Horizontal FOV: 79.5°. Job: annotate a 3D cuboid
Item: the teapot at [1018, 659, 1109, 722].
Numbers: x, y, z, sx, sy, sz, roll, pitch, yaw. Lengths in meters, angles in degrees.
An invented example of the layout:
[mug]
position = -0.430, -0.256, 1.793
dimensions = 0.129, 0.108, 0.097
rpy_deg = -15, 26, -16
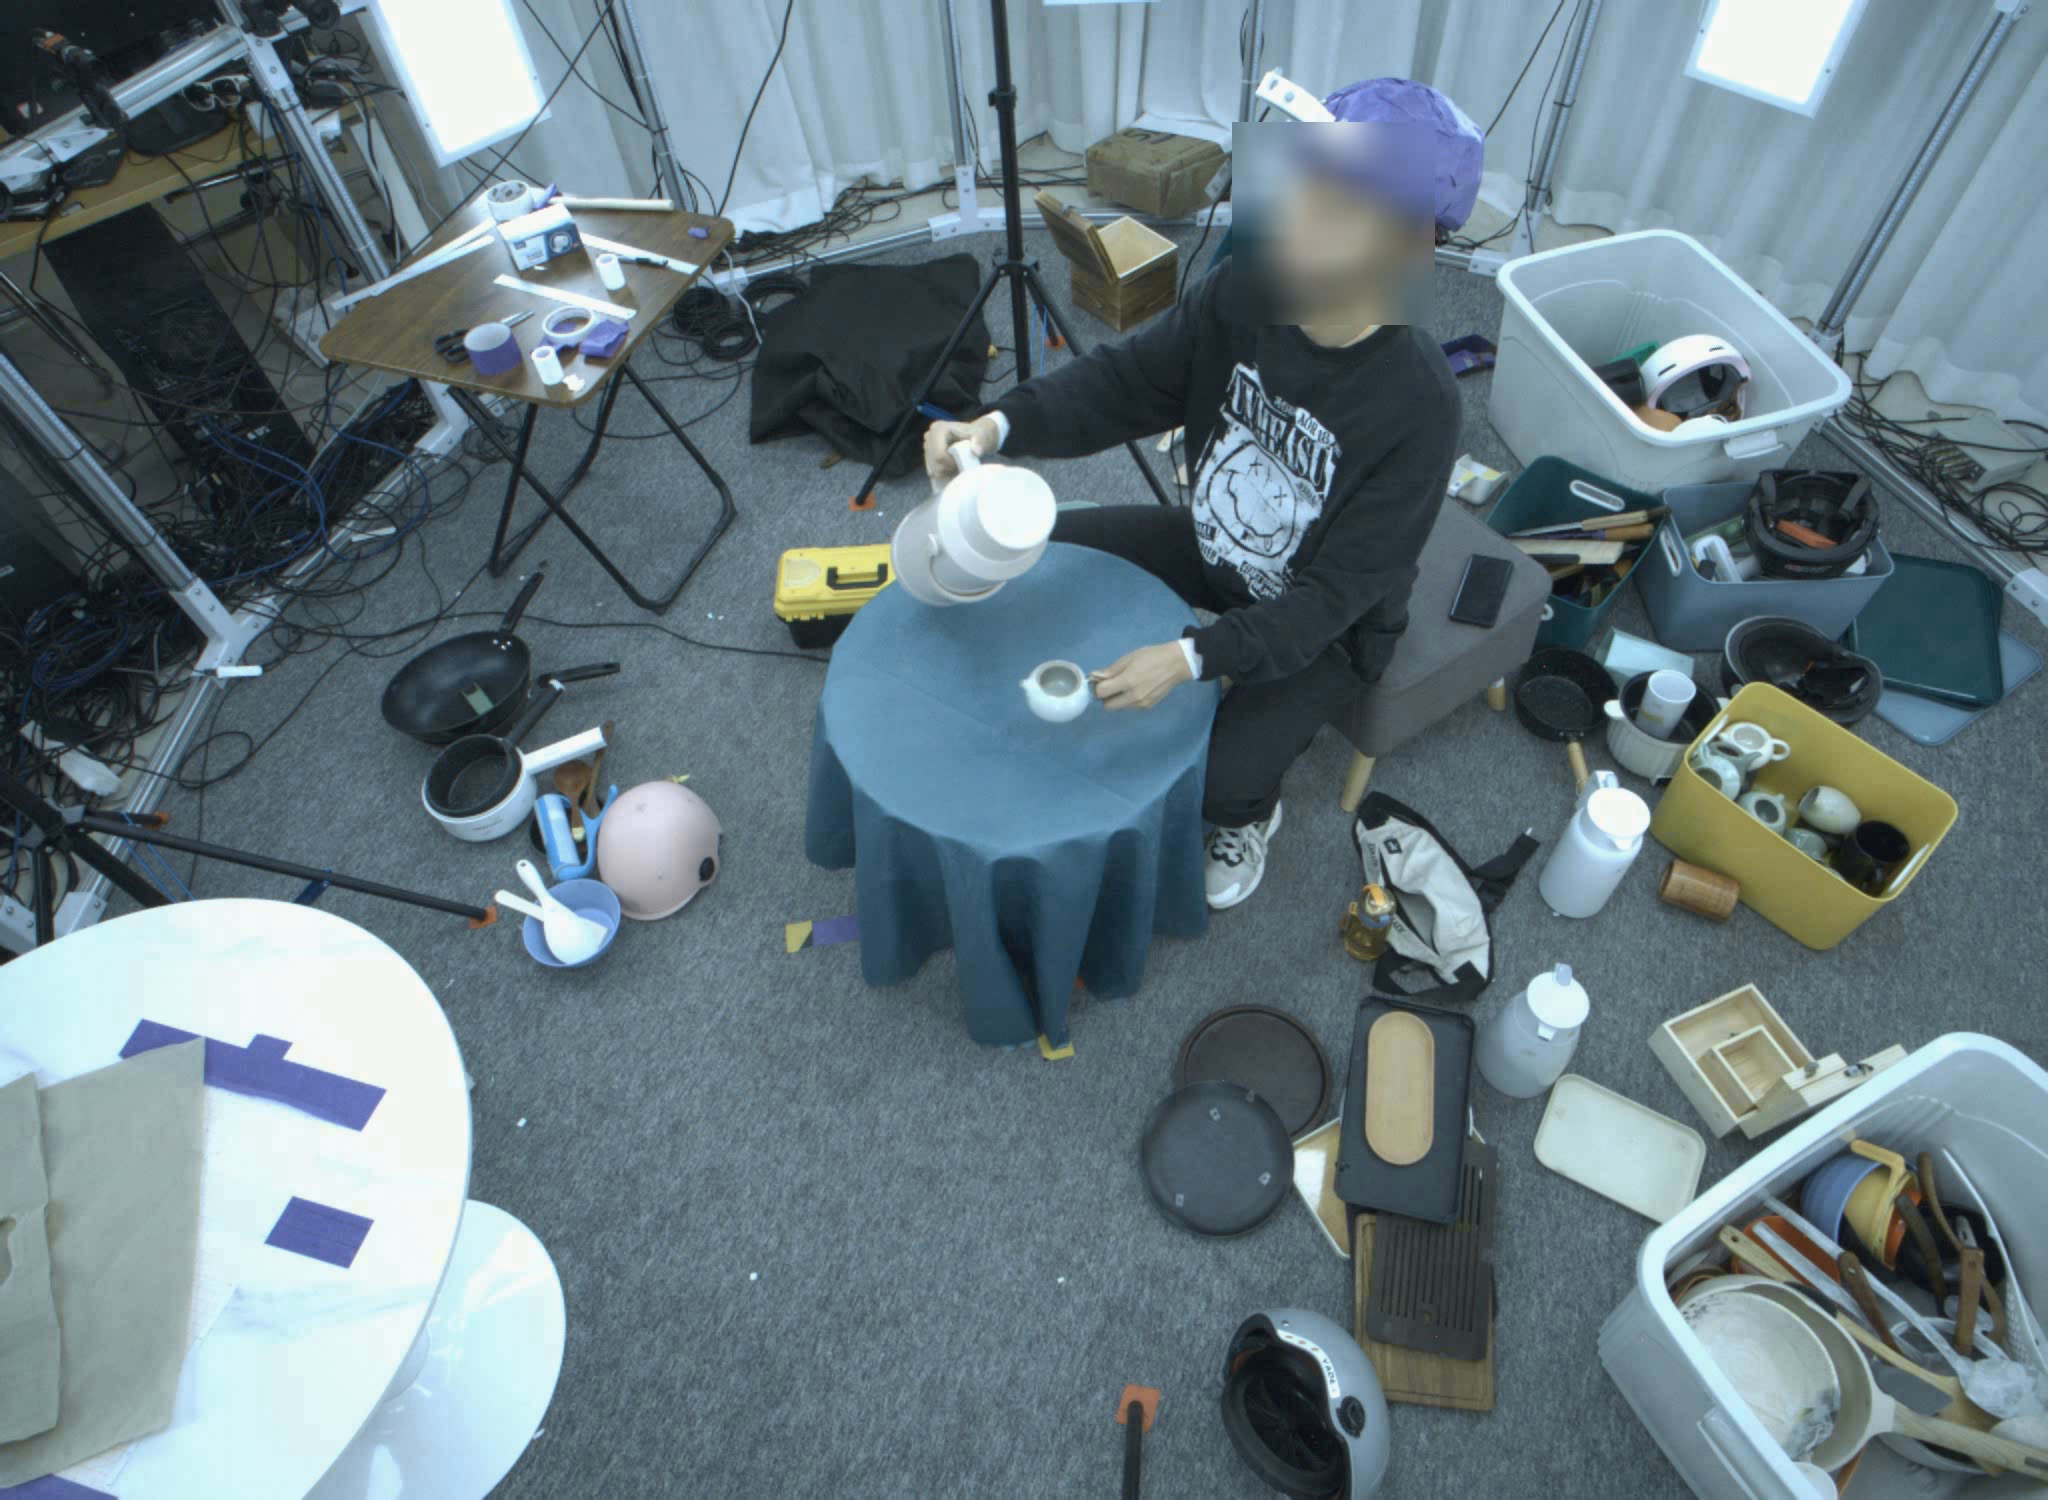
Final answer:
[teapot]
position = 0.054, -0.083, 1.708
dimensions = 0.129, 0.060, 0.090
rpy_deg = -6, 55, -8

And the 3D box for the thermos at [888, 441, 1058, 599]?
[thermos]
position = -0.075, -0.320, 1.711
dimensions = 0.177, 0.400, 0.208
rpy_deg = -24, 100, -16
